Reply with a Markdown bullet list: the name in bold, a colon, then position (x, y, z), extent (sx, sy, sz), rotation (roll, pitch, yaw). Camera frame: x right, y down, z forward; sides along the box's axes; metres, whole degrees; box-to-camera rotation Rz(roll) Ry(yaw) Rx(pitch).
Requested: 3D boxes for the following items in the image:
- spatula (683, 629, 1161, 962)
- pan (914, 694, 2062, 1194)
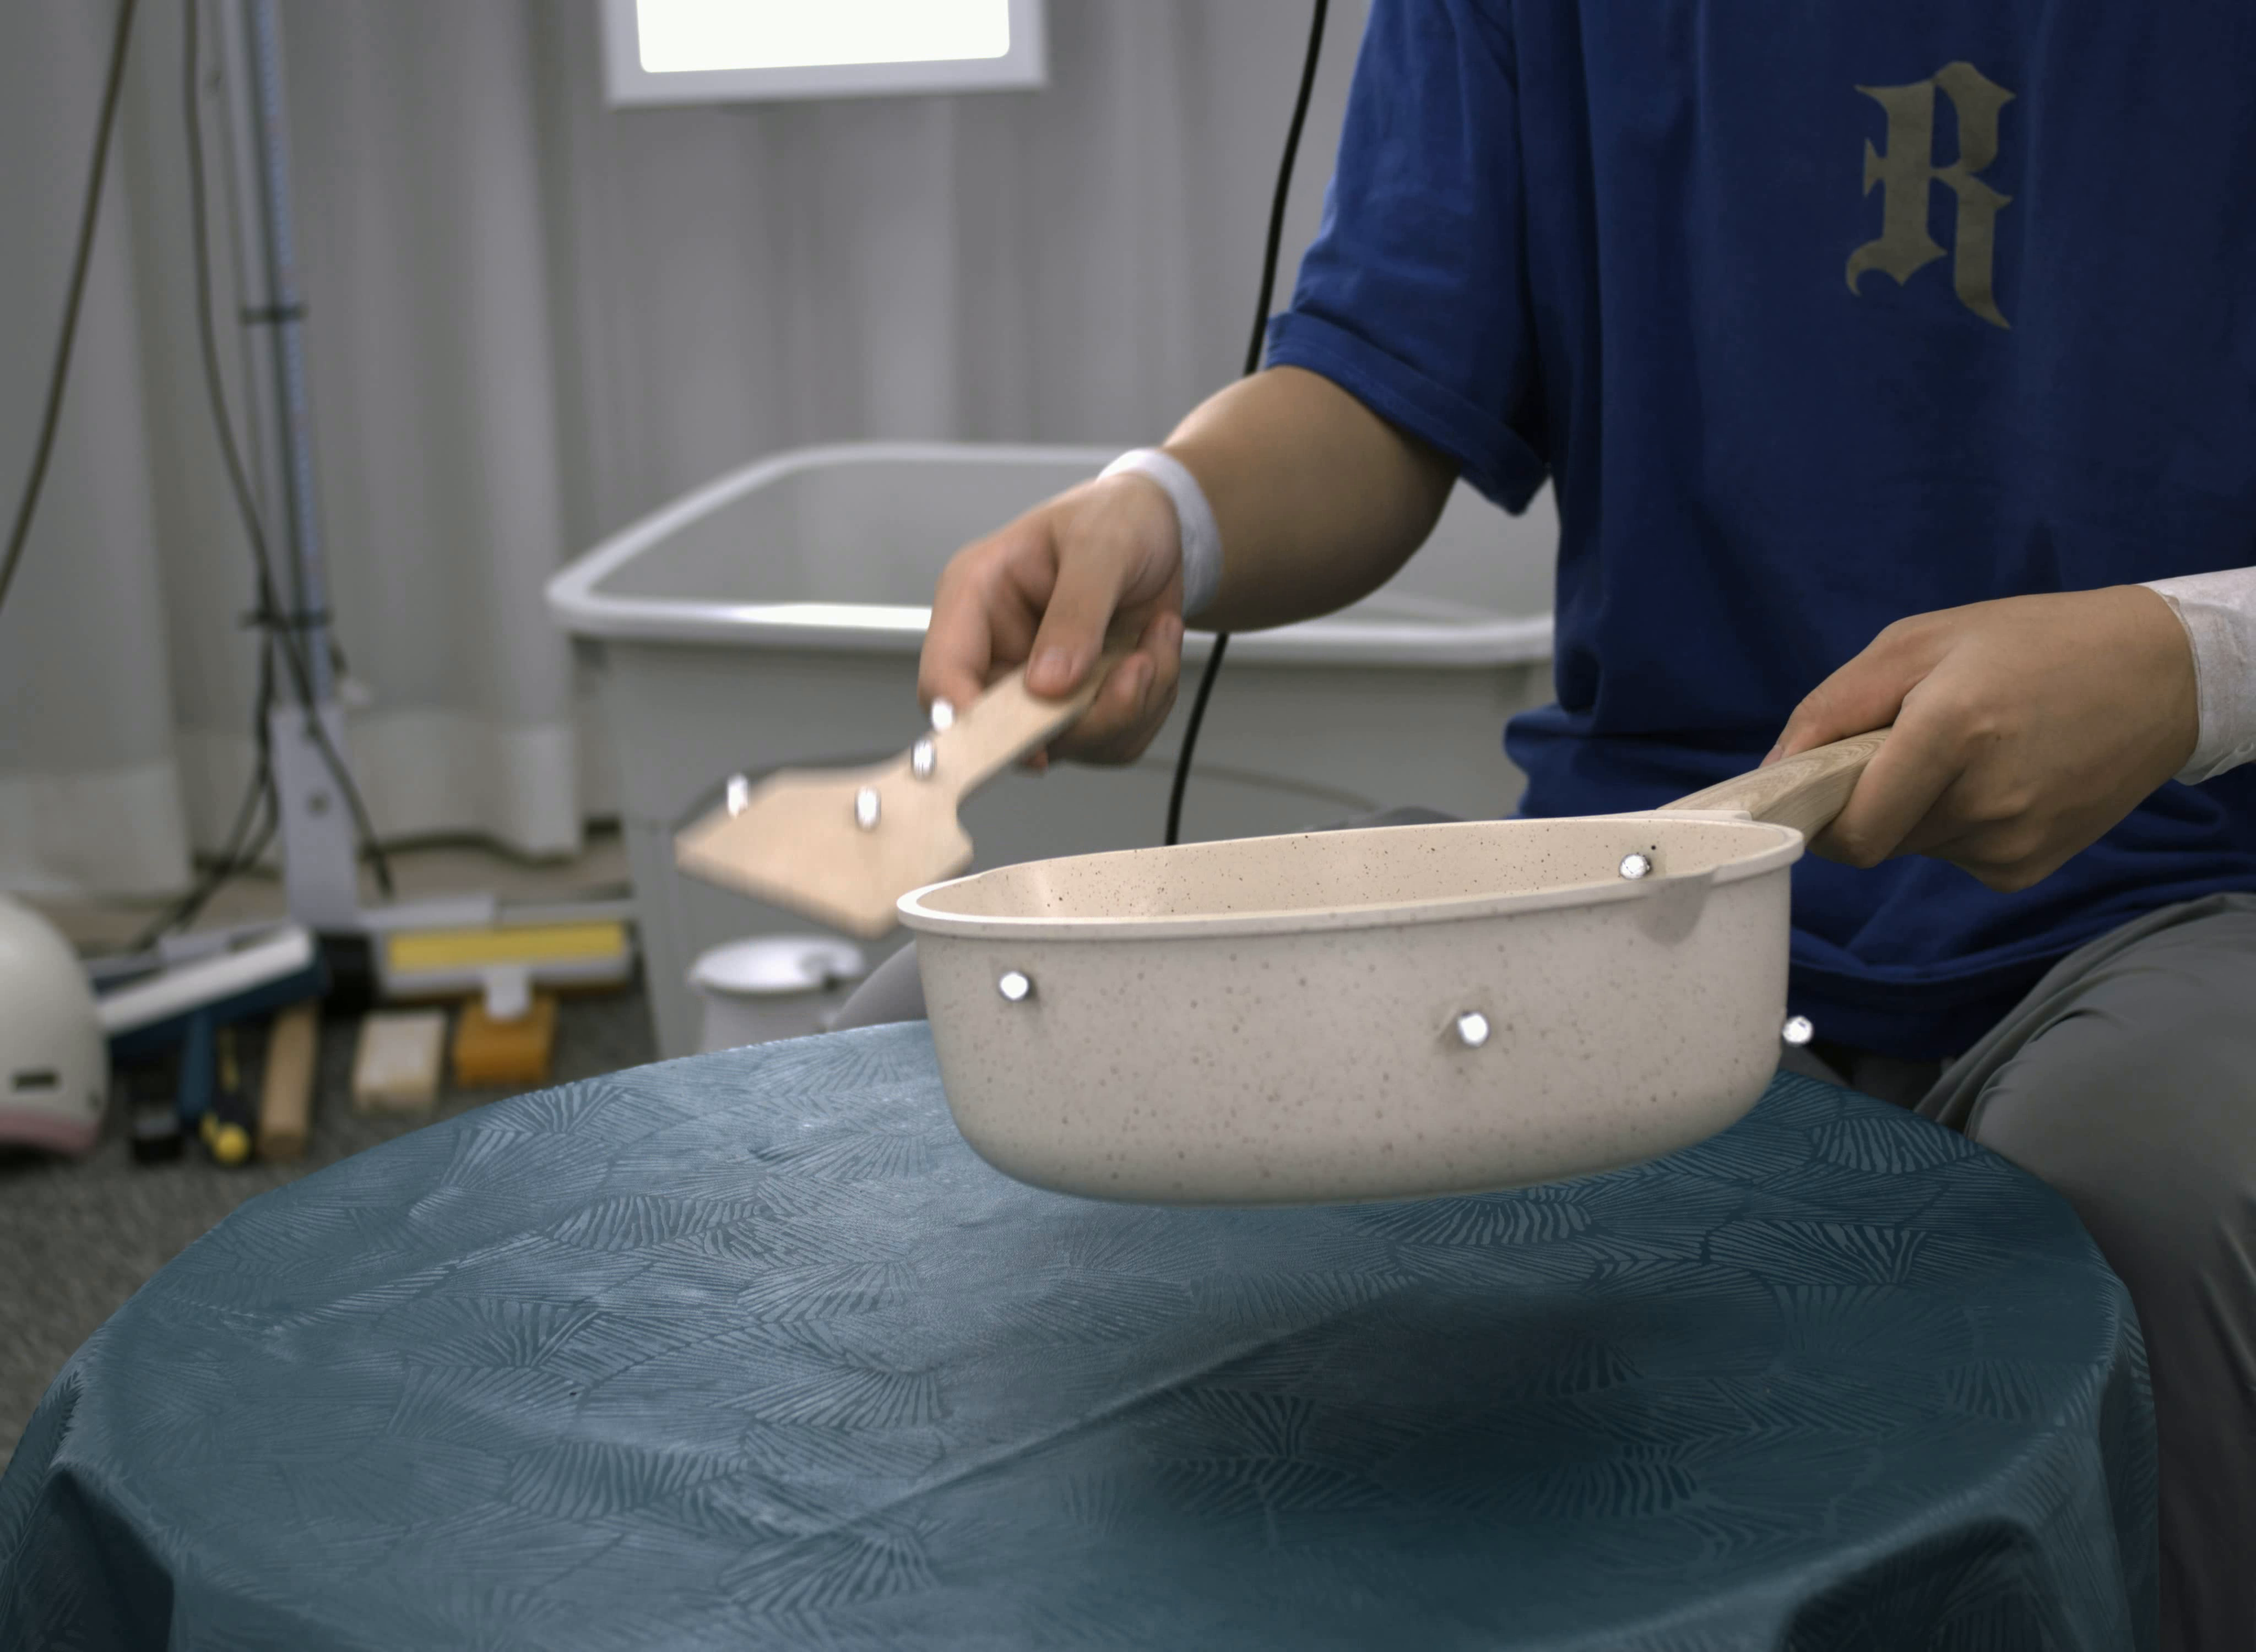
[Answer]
- **spatula**: position (-0.052, -0.016, 1.738), extent (0.072, 0.010, 0.294), rotation (17, 24, 15)
- **pan**: position (0.135, 0.031, 1.569), extent (0.433, 0.102, 0.264), rotation (-8, 4, -42)
